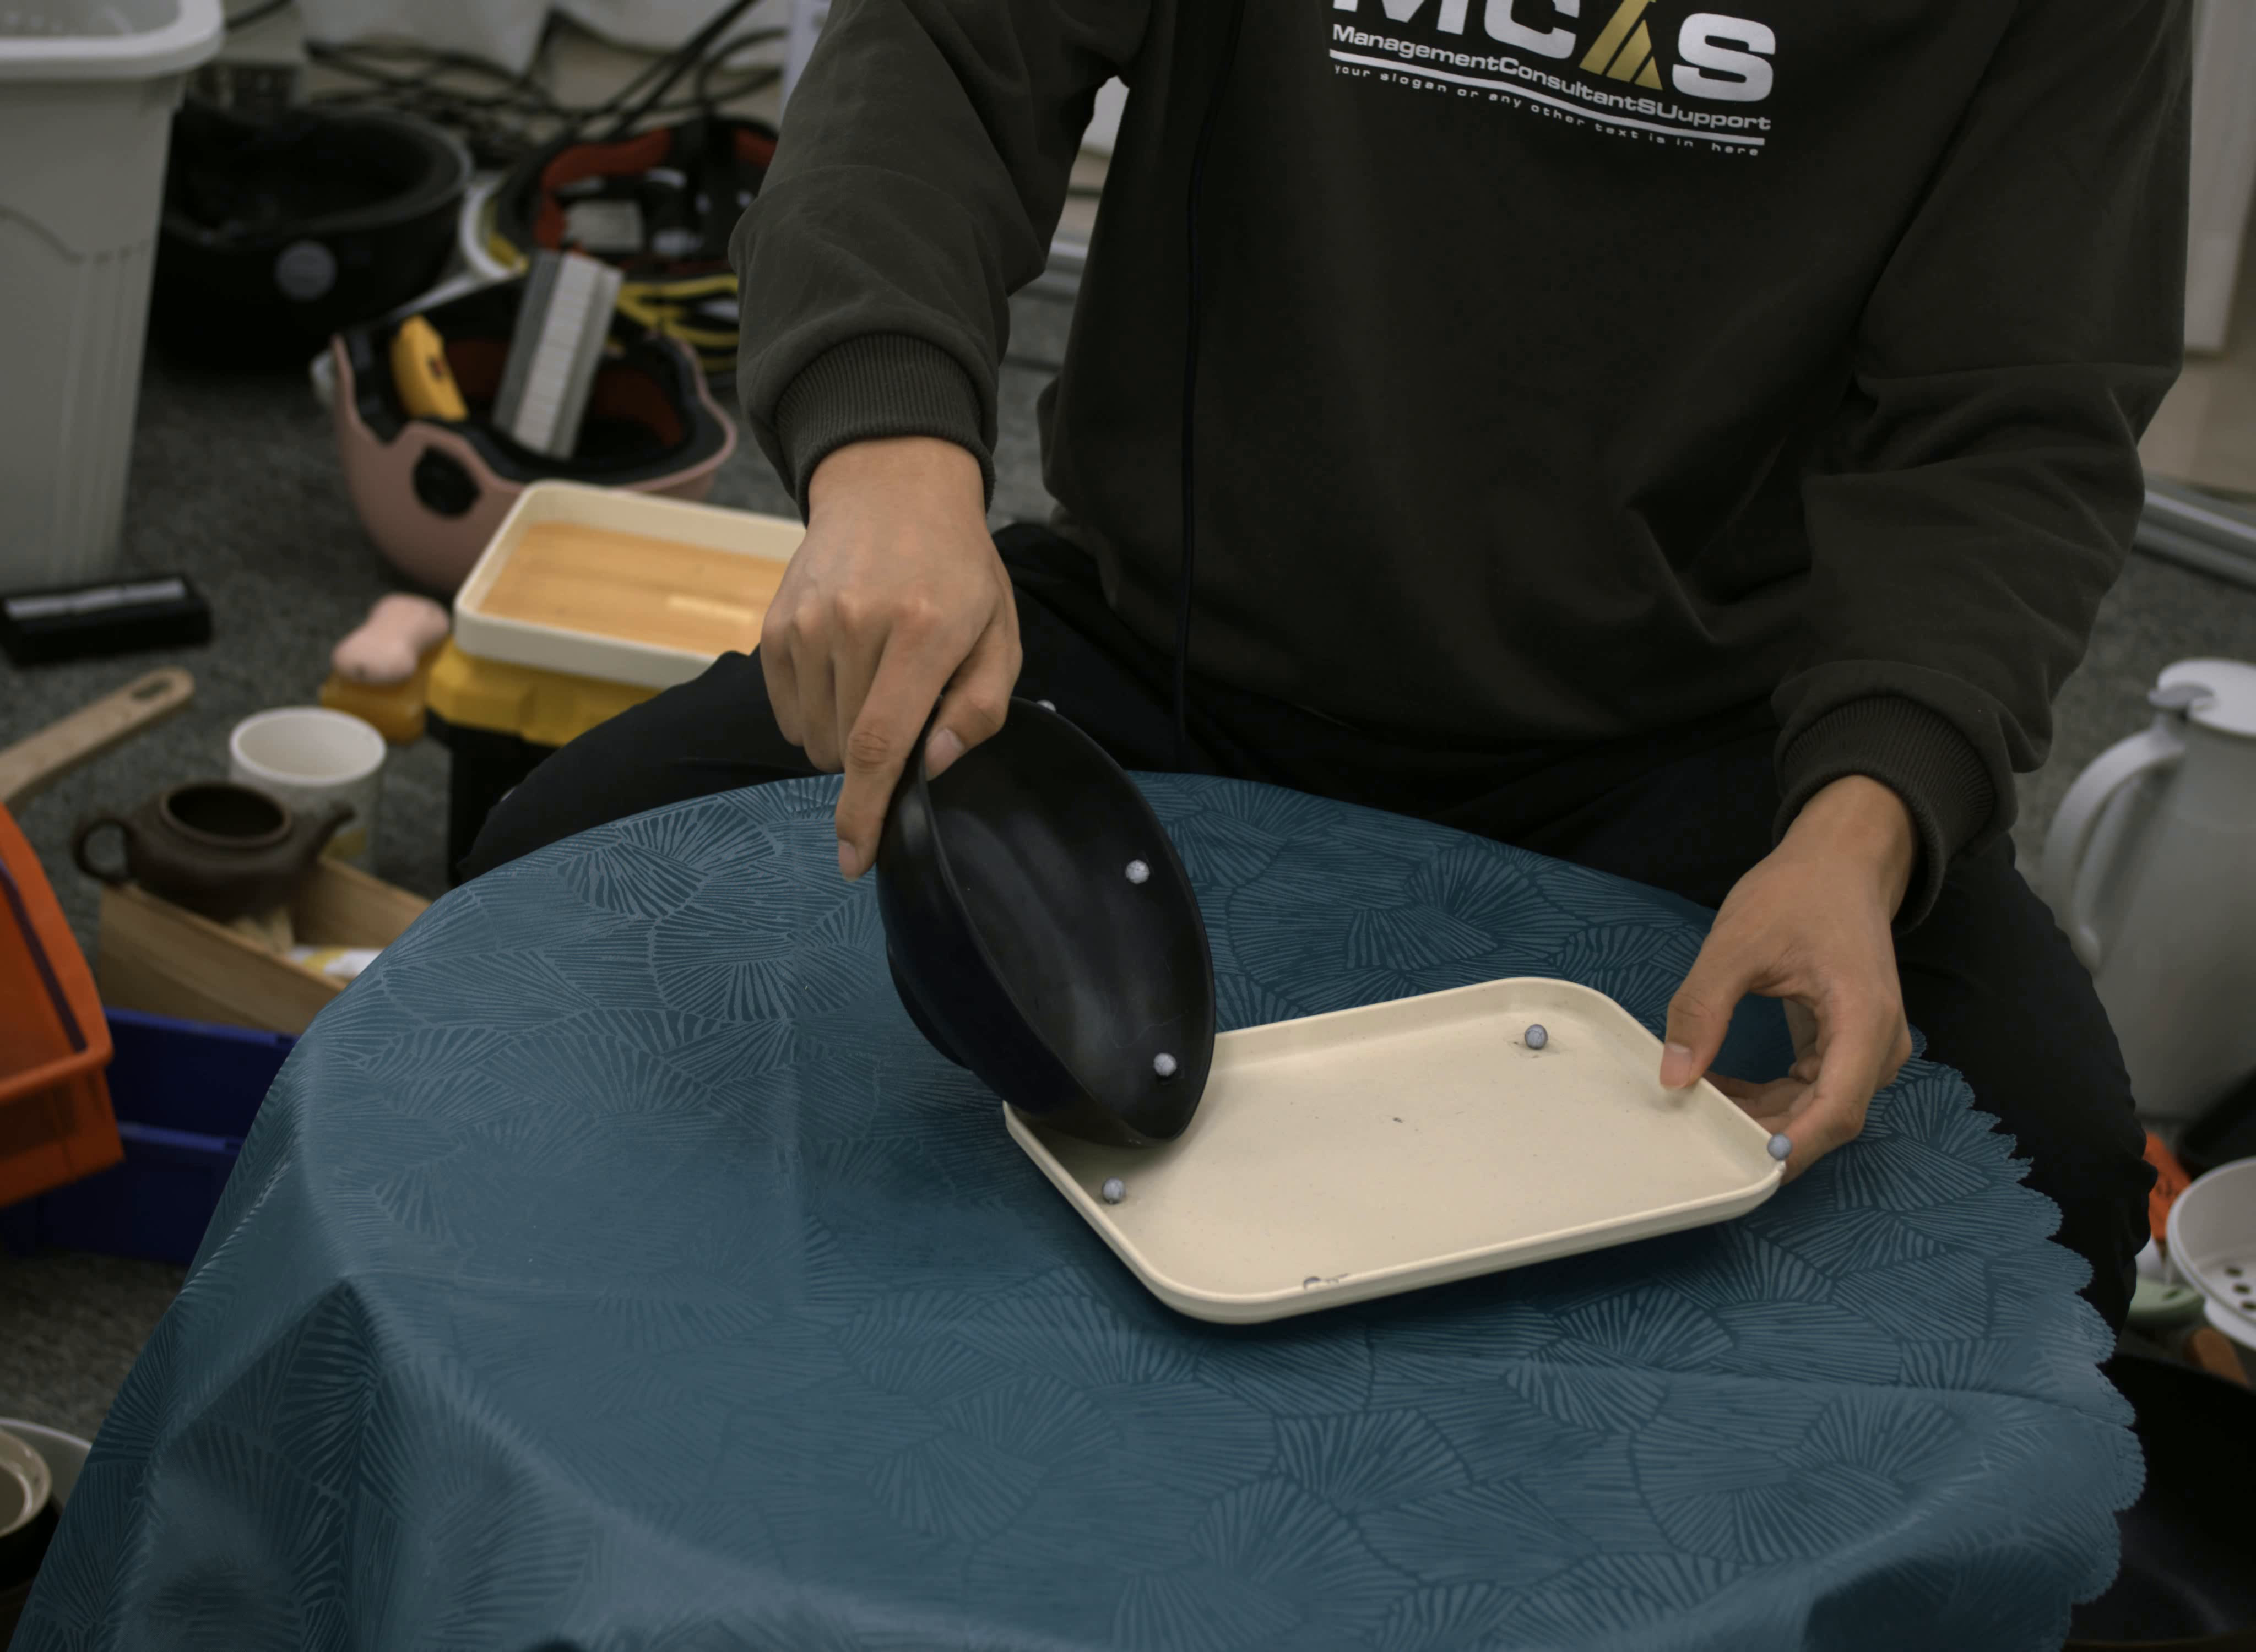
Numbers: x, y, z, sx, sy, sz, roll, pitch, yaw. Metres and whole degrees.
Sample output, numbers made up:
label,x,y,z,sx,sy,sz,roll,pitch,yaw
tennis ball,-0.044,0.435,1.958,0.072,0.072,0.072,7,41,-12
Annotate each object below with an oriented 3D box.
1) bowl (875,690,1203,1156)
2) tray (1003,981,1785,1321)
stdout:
label,x,y,z,sx,sy,sz,roll,pitch,yaw
bowl,-0.039,0.039,1.820,0.067,0.170,0.137,-25,11,32
tray,0.090,0.110,1.816,0.238,0.017,0.173,-10,27,-23
